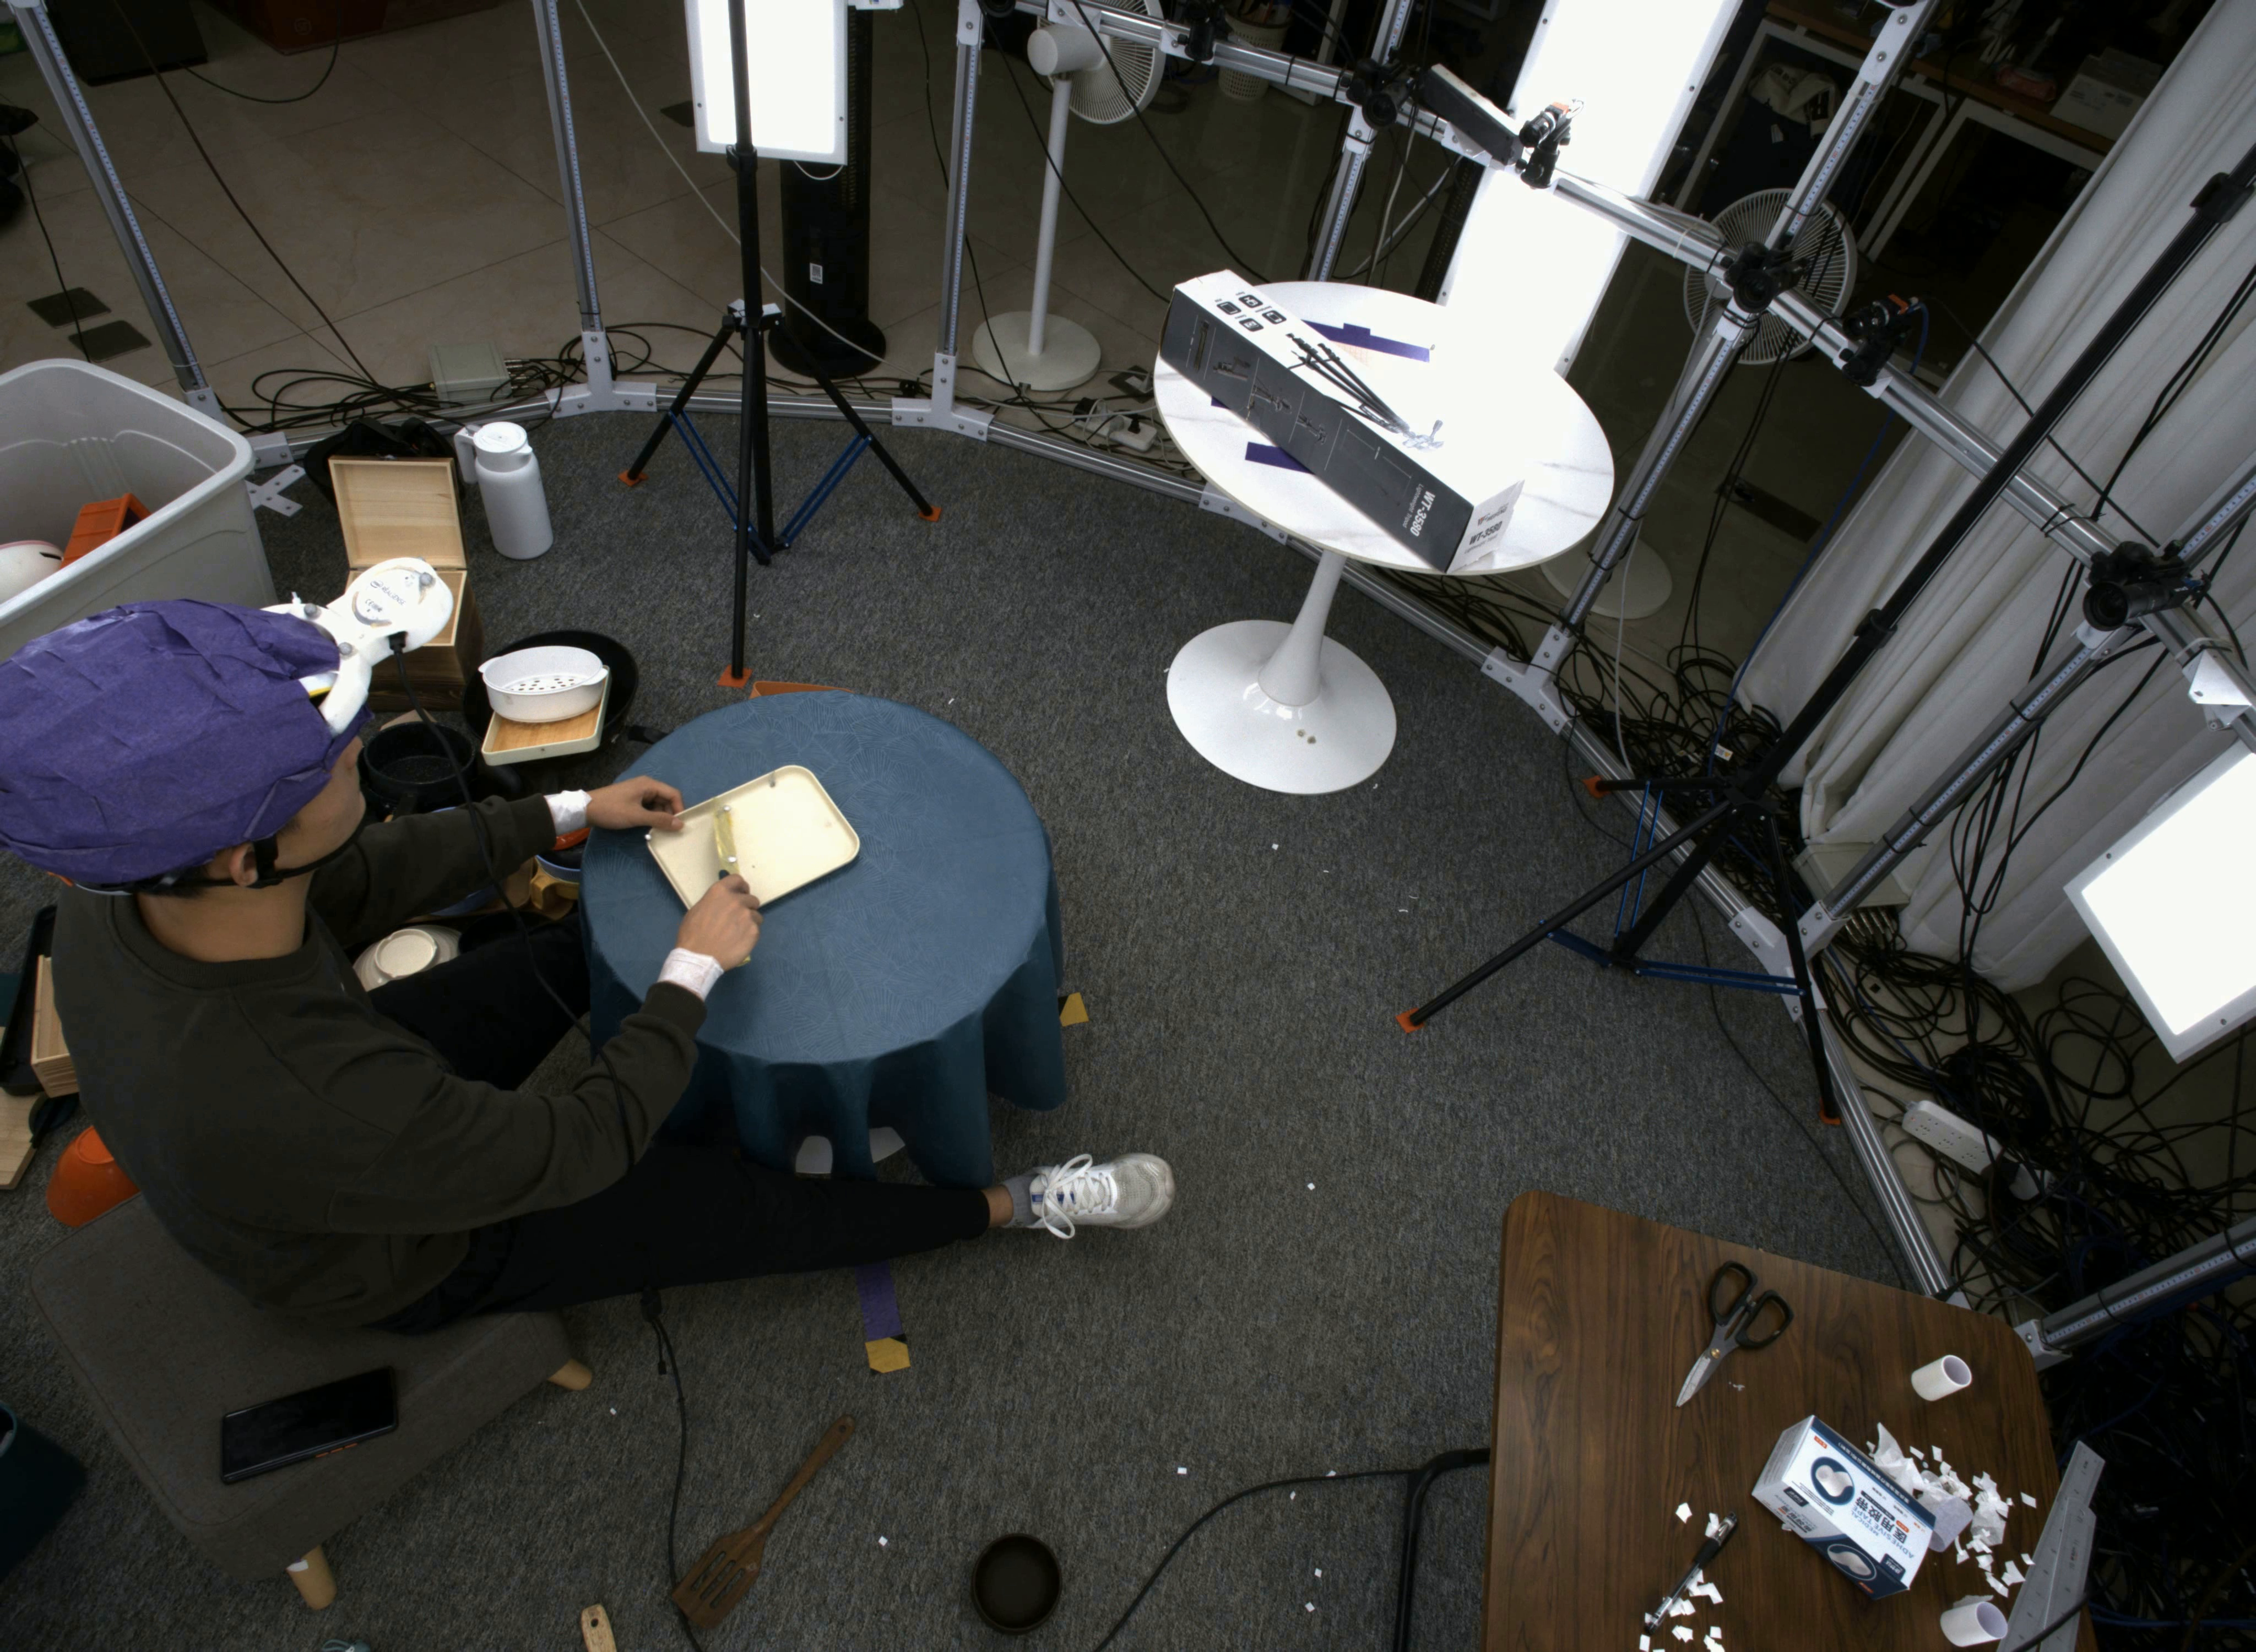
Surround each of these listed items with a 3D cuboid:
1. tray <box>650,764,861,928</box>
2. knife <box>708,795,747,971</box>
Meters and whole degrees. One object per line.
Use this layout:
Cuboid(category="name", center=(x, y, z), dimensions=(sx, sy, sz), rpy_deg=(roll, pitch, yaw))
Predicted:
Cuboid(category="tray", center=(-0.483, 0.022, 1.682), dimensions=(0.240, 0.017, 0.168), rpy_deg=(-29, 73, -31))
Cuboid(category="knife", center=(-0.492, 0.066, 1.595), dimensions=(0.027, 0.084, 0.281), rpy_deg=(-20, 51, -1))
